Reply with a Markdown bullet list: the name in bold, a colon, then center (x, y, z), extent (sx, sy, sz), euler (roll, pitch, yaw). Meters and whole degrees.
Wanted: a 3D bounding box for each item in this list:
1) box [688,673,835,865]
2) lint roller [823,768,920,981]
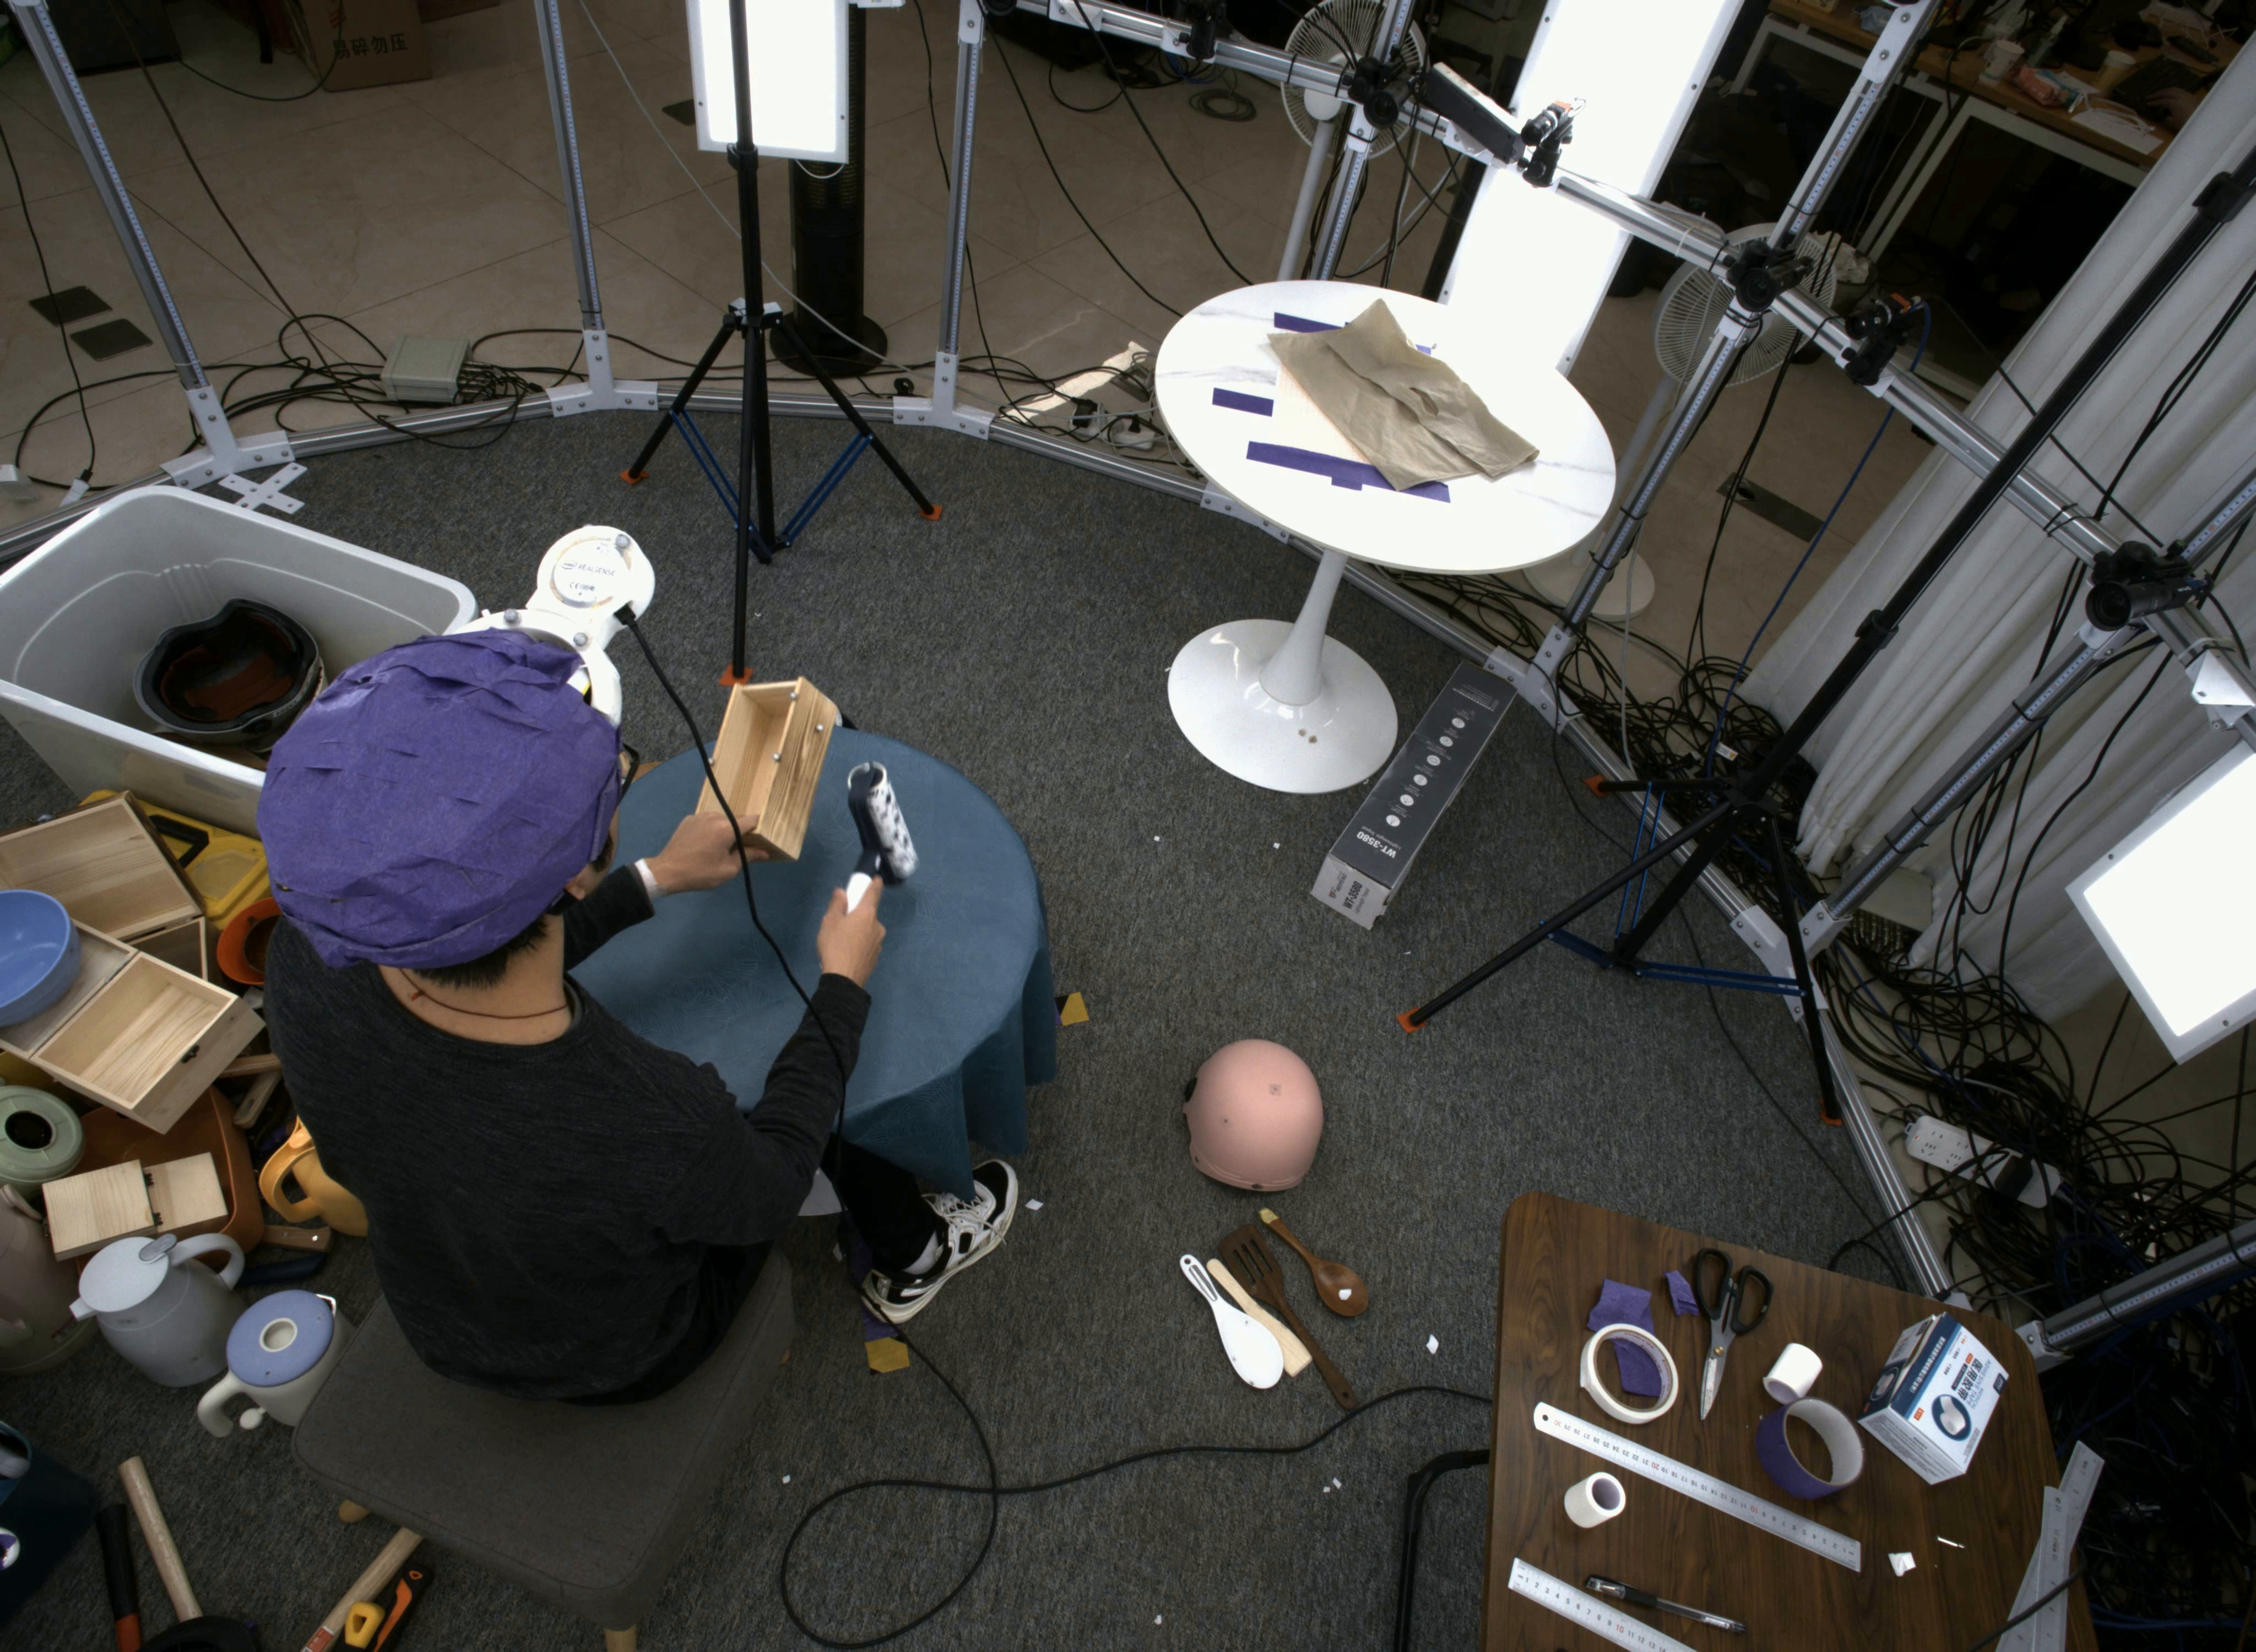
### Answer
- **box**: center (-0.442, -0.069, 1.566), extent (0.104, 0.083, 0.210), euler (-3, 64, 22)
- **lint roller**: center (-0.306, 0.078, 1.535), extent (0.049, 0.182, 0.243), euler (2, 50, 8)
